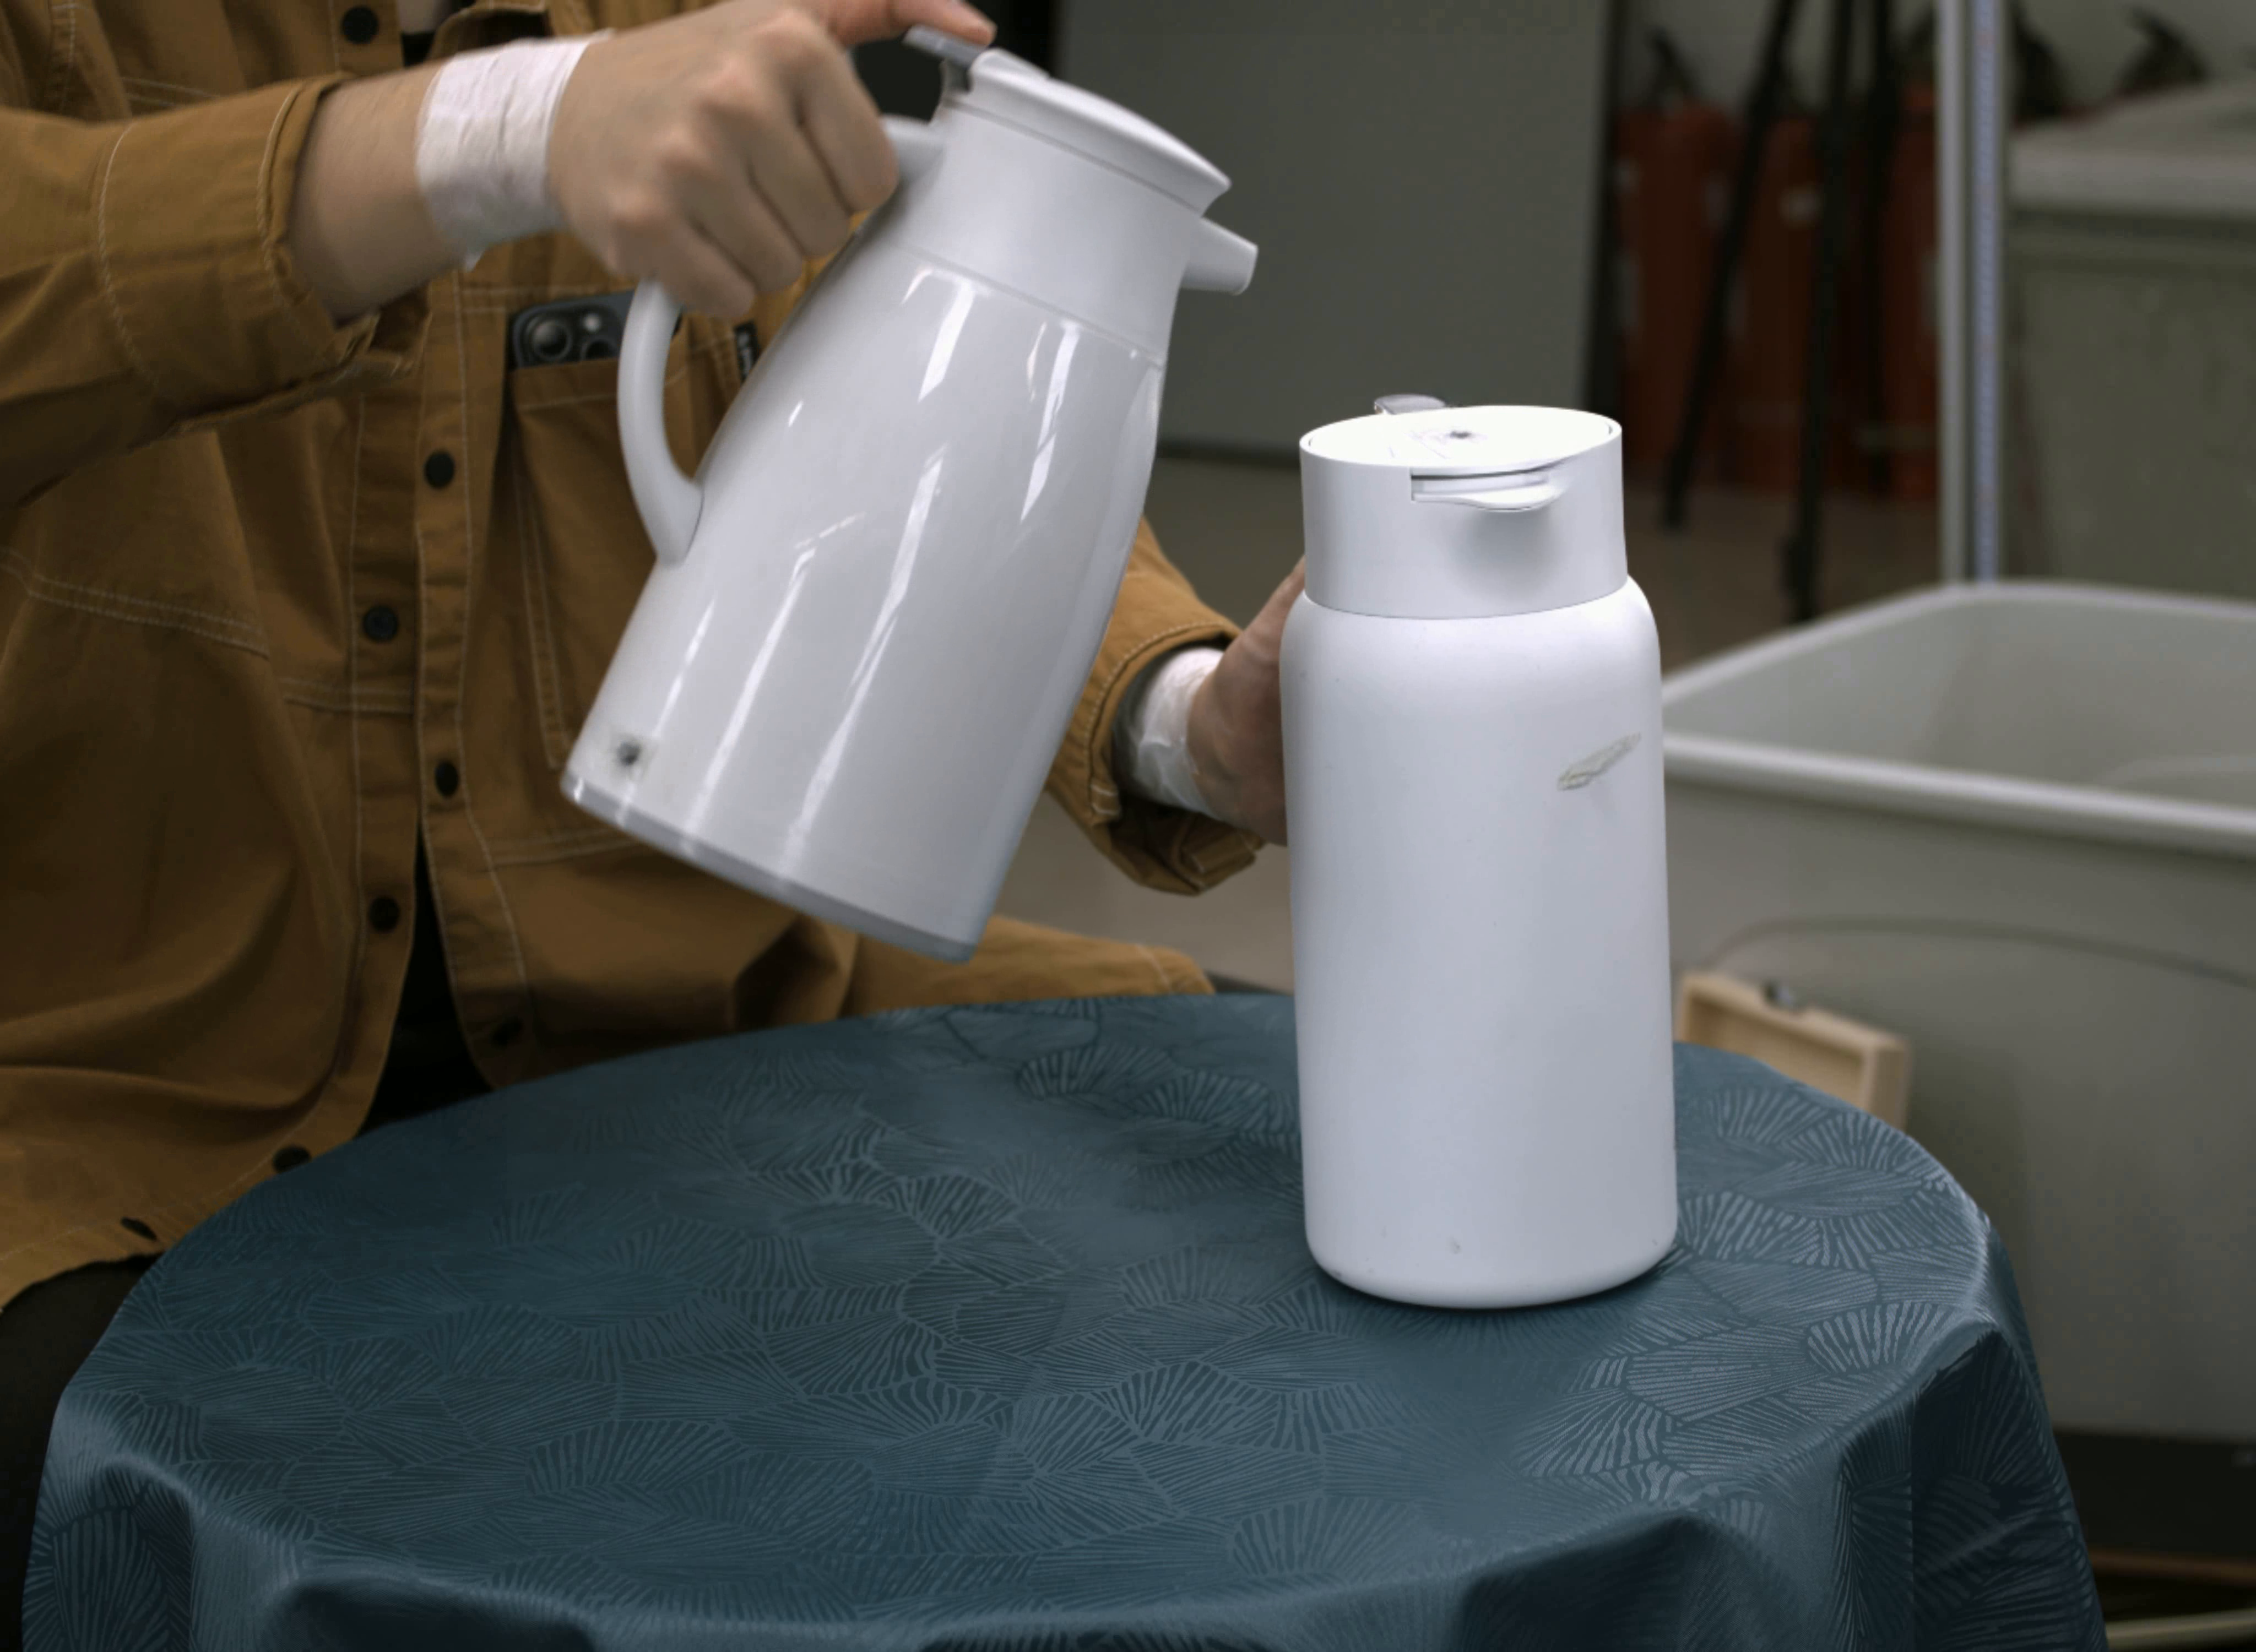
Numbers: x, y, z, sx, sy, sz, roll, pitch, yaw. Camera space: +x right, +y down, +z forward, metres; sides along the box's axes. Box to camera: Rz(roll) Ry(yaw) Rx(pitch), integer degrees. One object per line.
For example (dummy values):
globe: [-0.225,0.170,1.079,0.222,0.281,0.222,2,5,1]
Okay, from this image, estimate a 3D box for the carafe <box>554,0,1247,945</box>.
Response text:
carafe: [-0.075,-0.112,1.559,0.164,0.251,0.133,22,2,-20]

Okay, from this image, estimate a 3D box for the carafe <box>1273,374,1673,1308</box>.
carafe: [0.100,0.001,1.669,0.121,0.272,0.174,-8,14,-10]
